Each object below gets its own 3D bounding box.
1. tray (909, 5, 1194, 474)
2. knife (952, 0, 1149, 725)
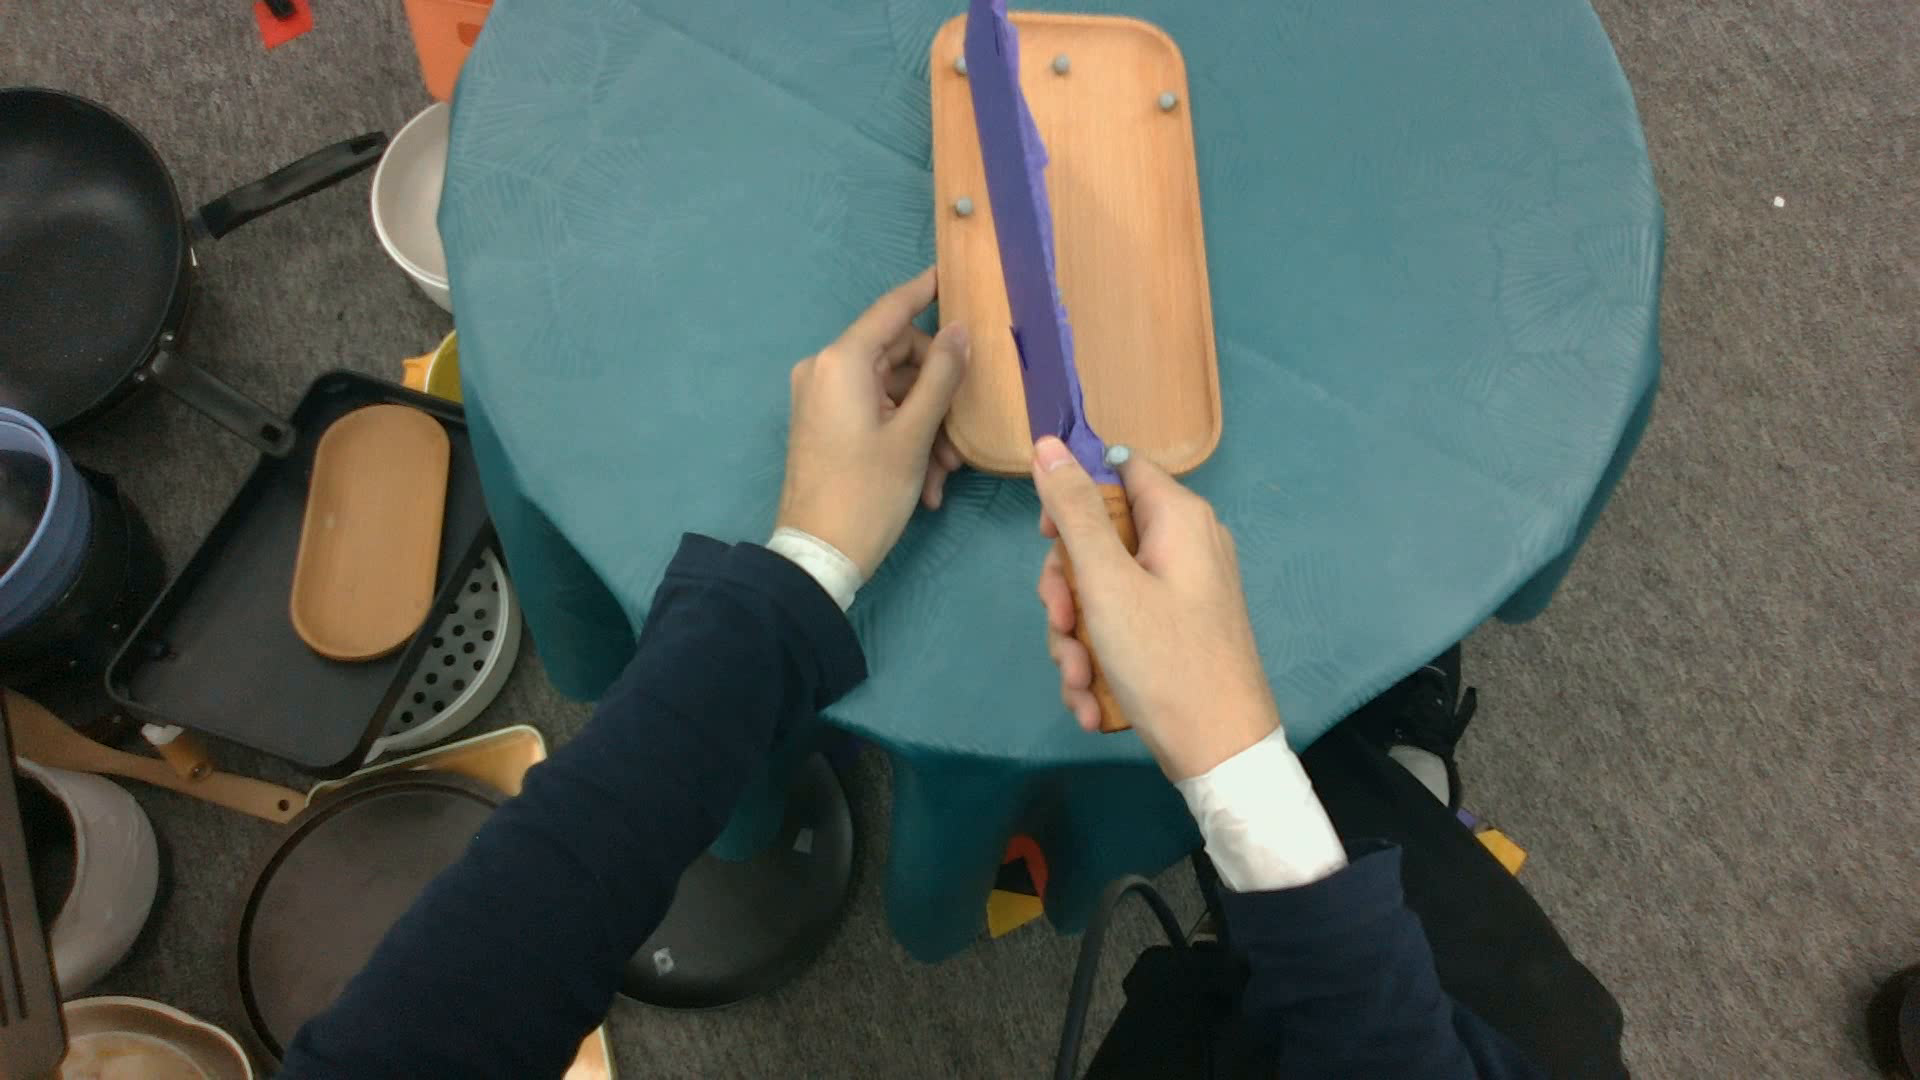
[{"bbox_3d":[0.041,-0.147,0.652,0.130,0.023,0.251,2,69,-4],"label":"tray"},{"bbox_3d":[0.031,-0.083,0.554,0.032,0.103,0.315,-6,81,-7],"label":"knife"}]
